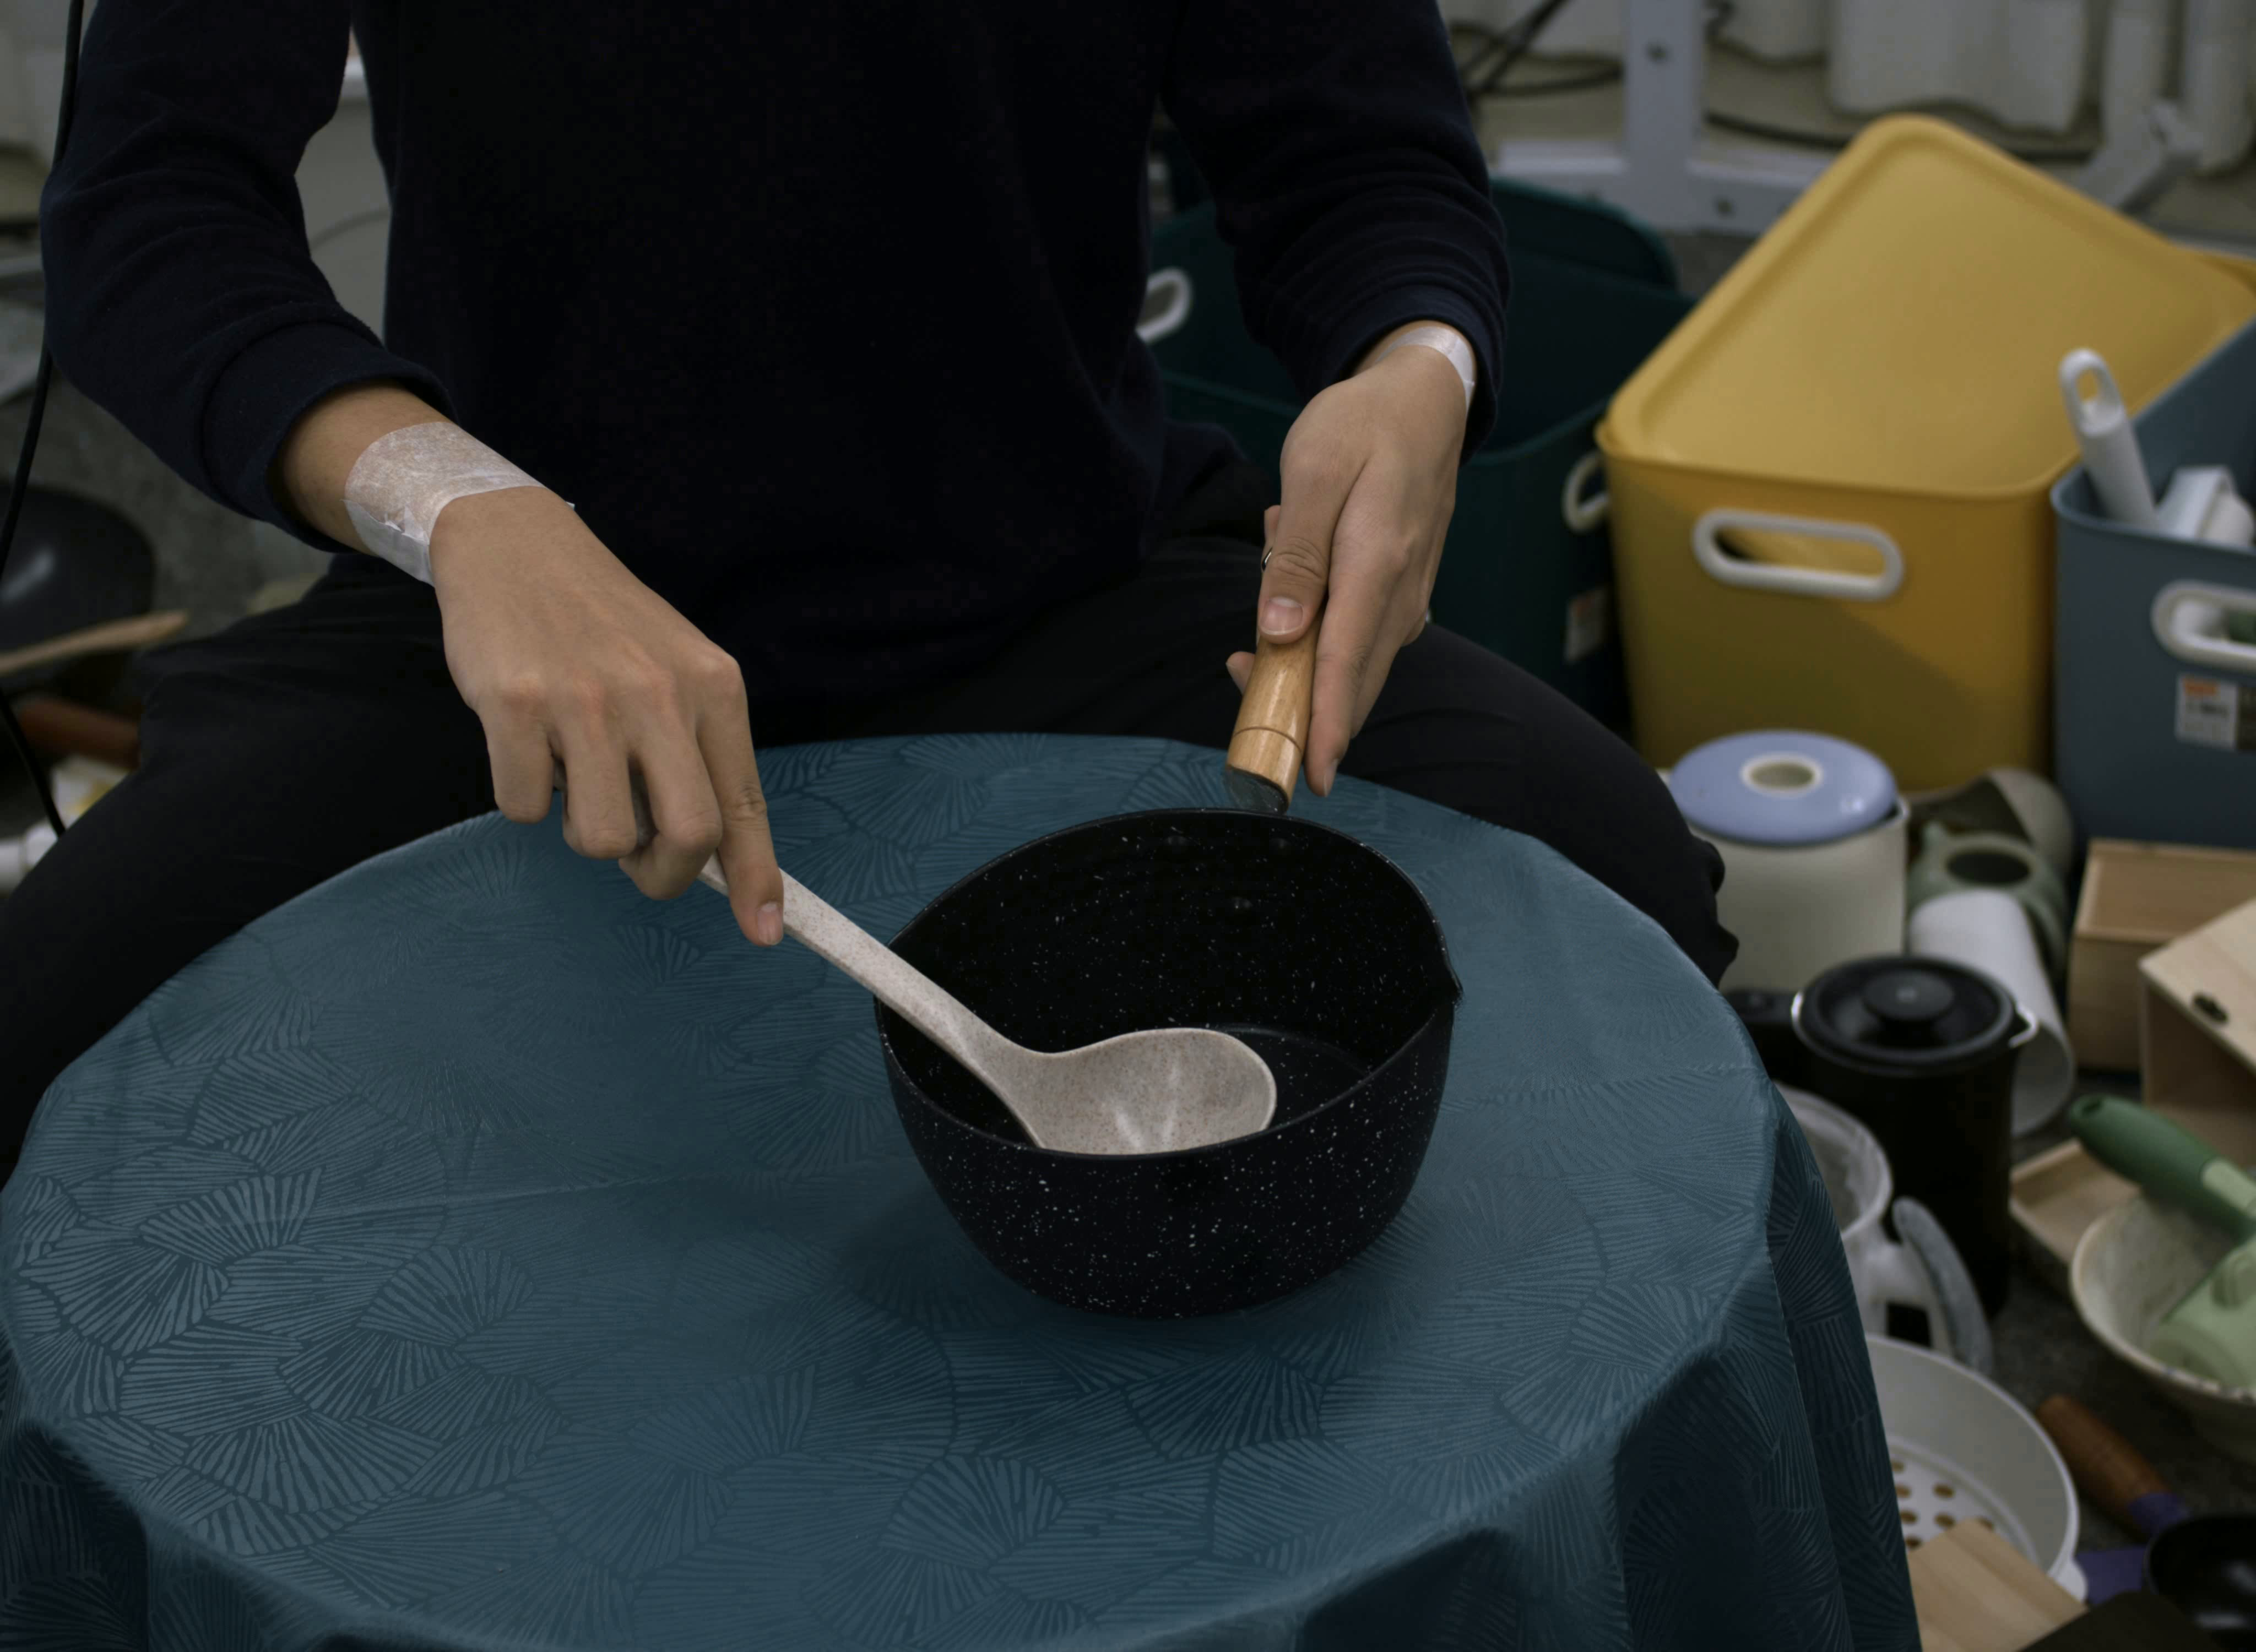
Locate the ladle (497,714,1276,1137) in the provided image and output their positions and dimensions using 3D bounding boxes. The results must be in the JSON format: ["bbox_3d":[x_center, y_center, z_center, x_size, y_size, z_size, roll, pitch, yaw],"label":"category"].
[{"bbox_3d":[-0.075,0.033,1.796,0.274,0.068,0.091,38,42,-15],"label":"ladle"}]

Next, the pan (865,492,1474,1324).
[{"bbox_3d":[0.033,0.025,1.885,0.206,0.107,0.350,2,37,16],"label":"pan"}]
